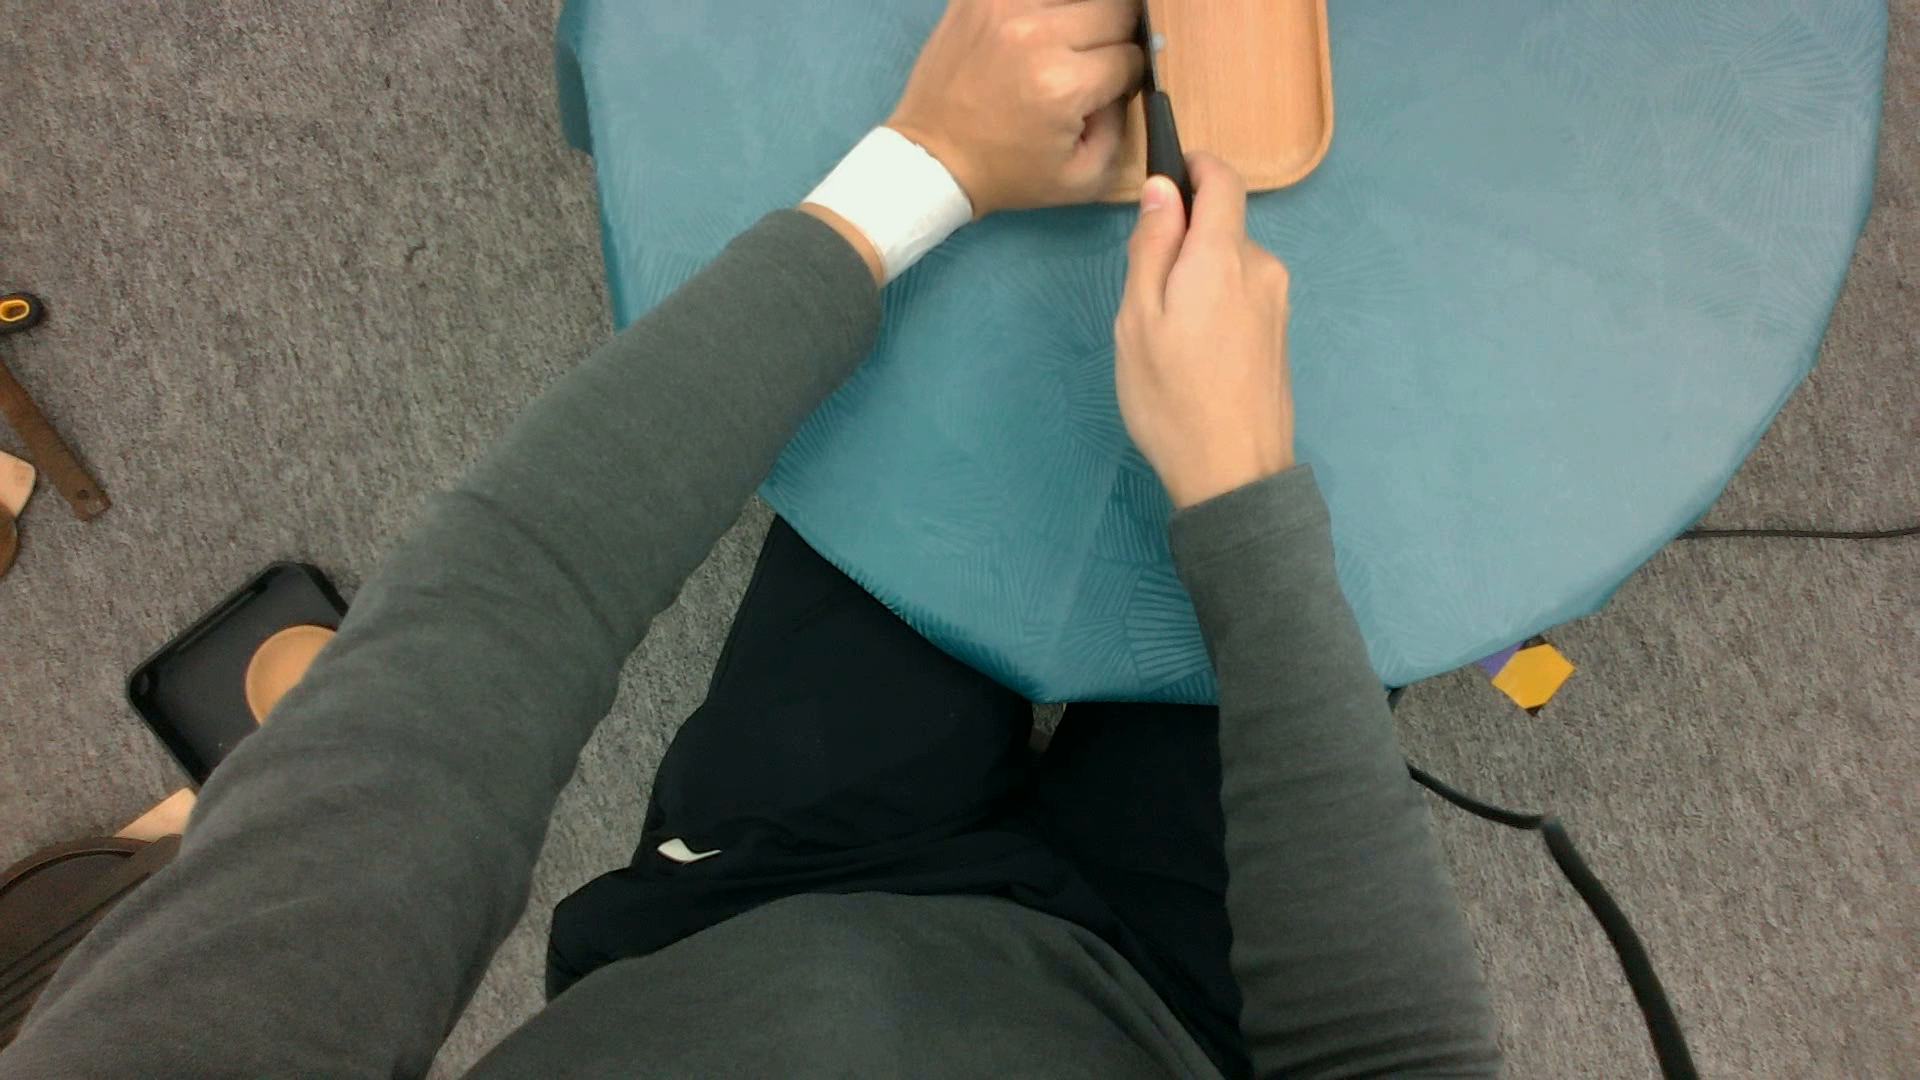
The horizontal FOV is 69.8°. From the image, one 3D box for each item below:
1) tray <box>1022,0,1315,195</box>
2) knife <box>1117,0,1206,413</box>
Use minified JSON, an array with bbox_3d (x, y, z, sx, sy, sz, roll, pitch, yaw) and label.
[{"bbox_3d":[0.090,-0.284,0.624,0.130,0.023,0.250,-4,92,0],"label":"tray"},{"bbox_3d":[0.073,-0.204,0.577,0.021,0.081,0.302,-8,87,4],"label":"knife"}]
